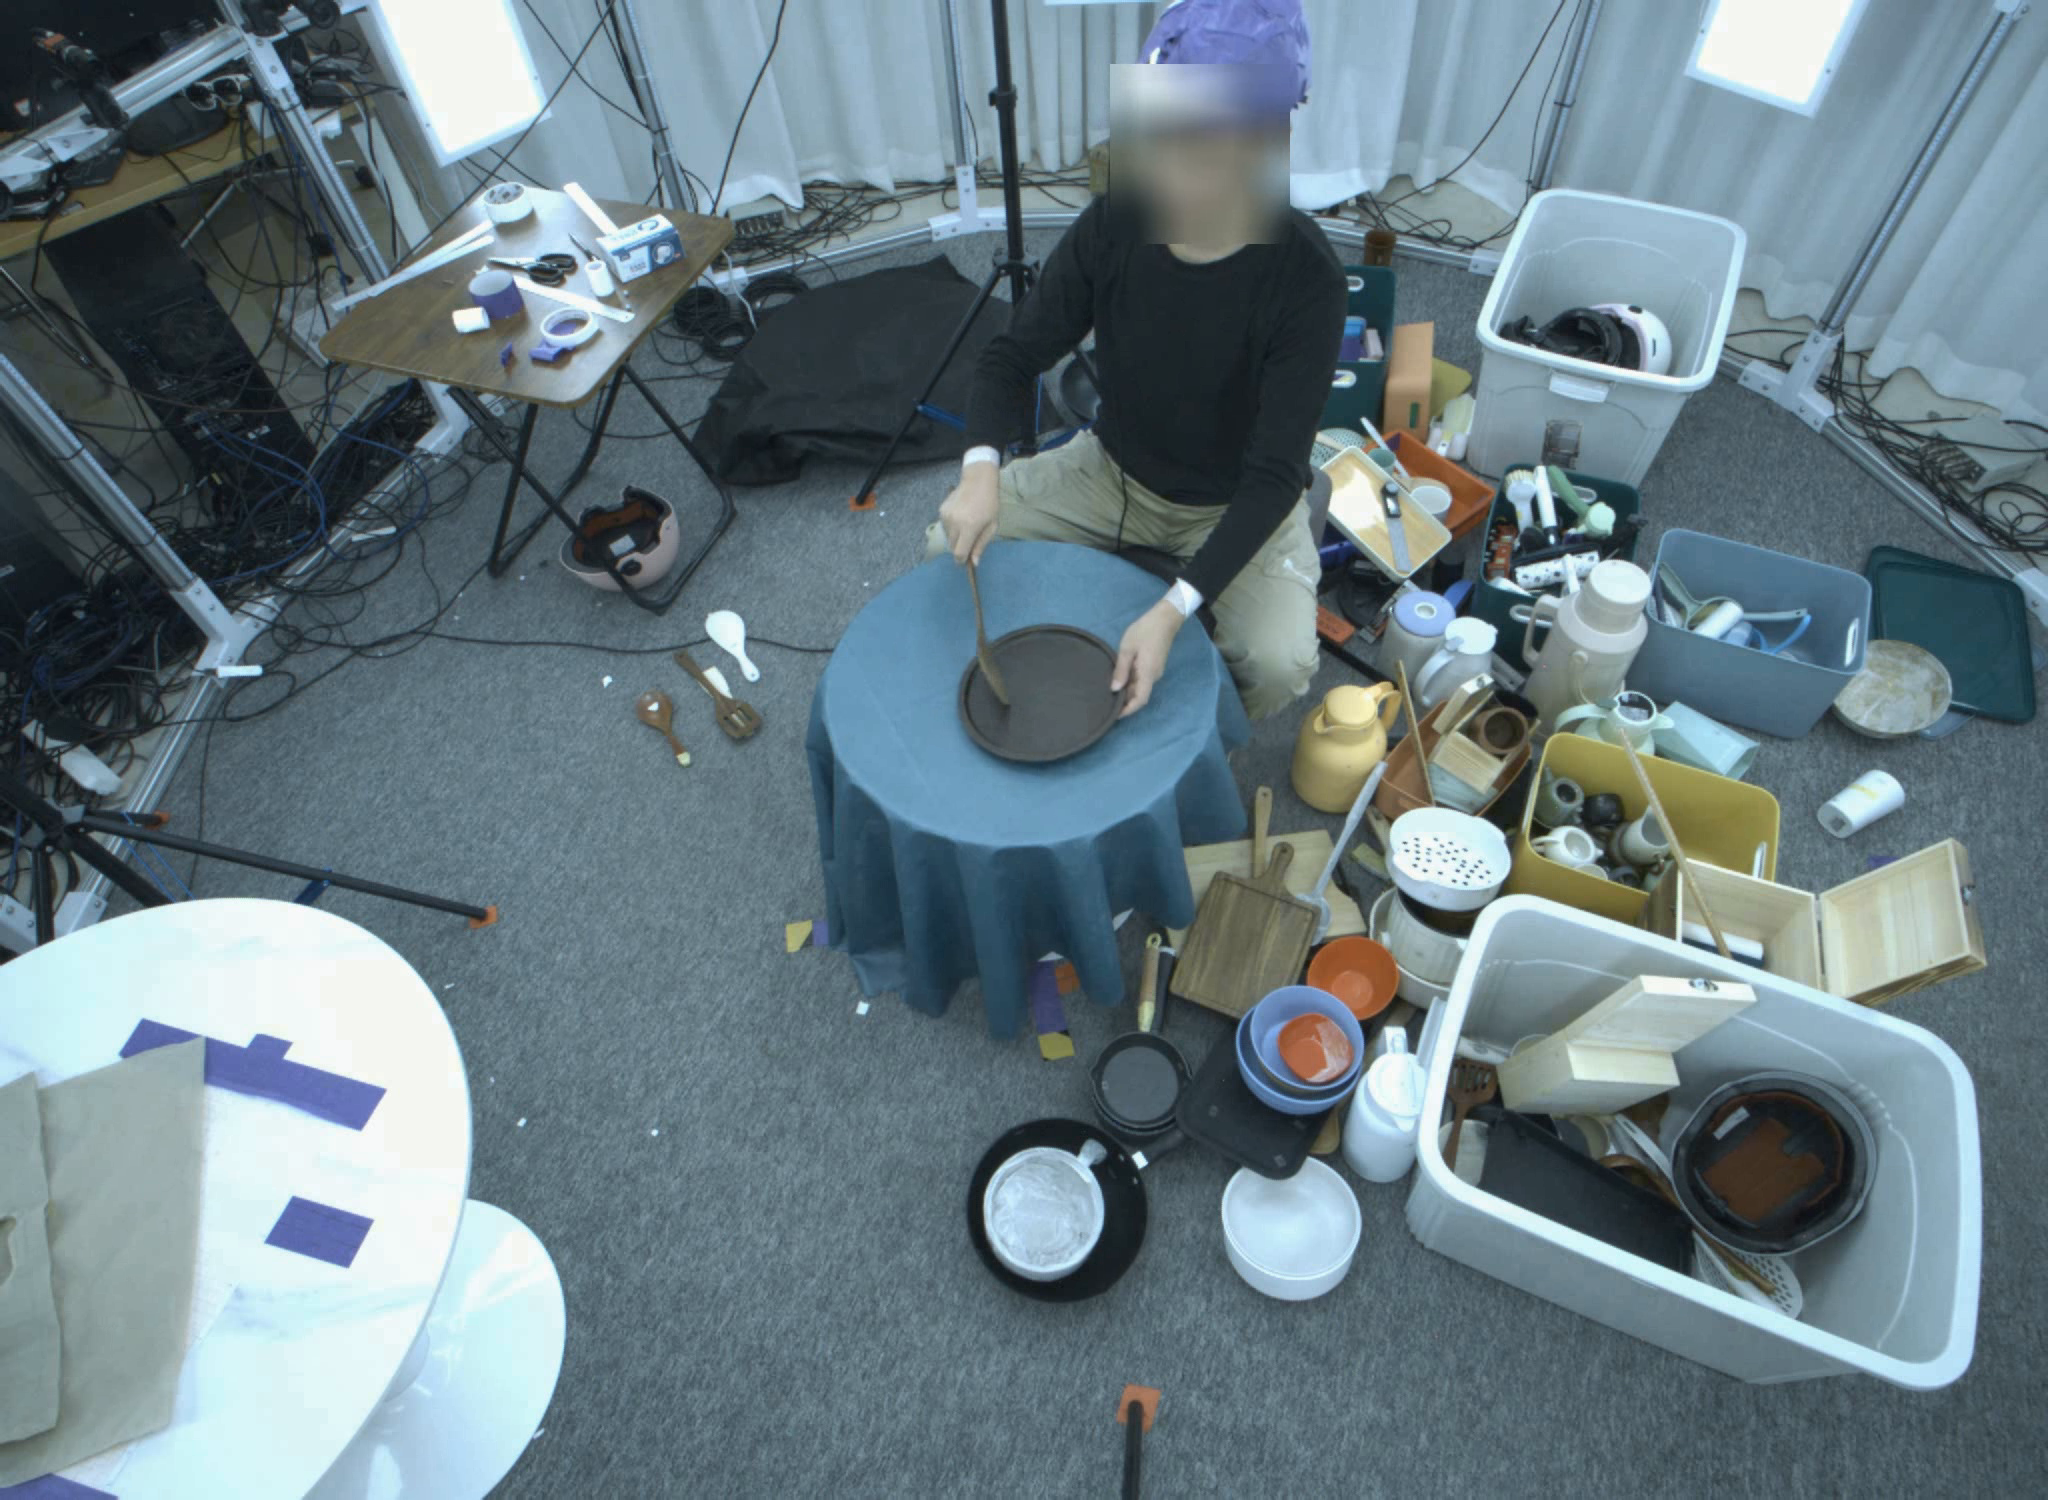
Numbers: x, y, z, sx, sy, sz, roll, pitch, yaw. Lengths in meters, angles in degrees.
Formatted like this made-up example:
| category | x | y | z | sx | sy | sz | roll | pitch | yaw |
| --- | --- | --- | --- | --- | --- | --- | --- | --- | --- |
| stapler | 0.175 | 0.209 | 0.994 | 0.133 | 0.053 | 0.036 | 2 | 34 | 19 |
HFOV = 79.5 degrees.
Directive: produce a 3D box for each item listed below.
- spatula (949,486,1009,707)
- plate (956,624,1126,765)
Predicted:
| category | x | y | z | sx | sy | sz | roll | pitch | yaw |
| --- | --- | --- | --- | --- | --- | --- | --- | --- | --- |
| spatula | -0.075 | -0.241 | 1.838 | 0.015 | 0.098 | 0.382 | -17 | 68 | 12 |
| plate | 0.026 | -0.084 | 1.817 | 0.253 | 0.029 | 0.252 | -4 | 57 | 8 |
